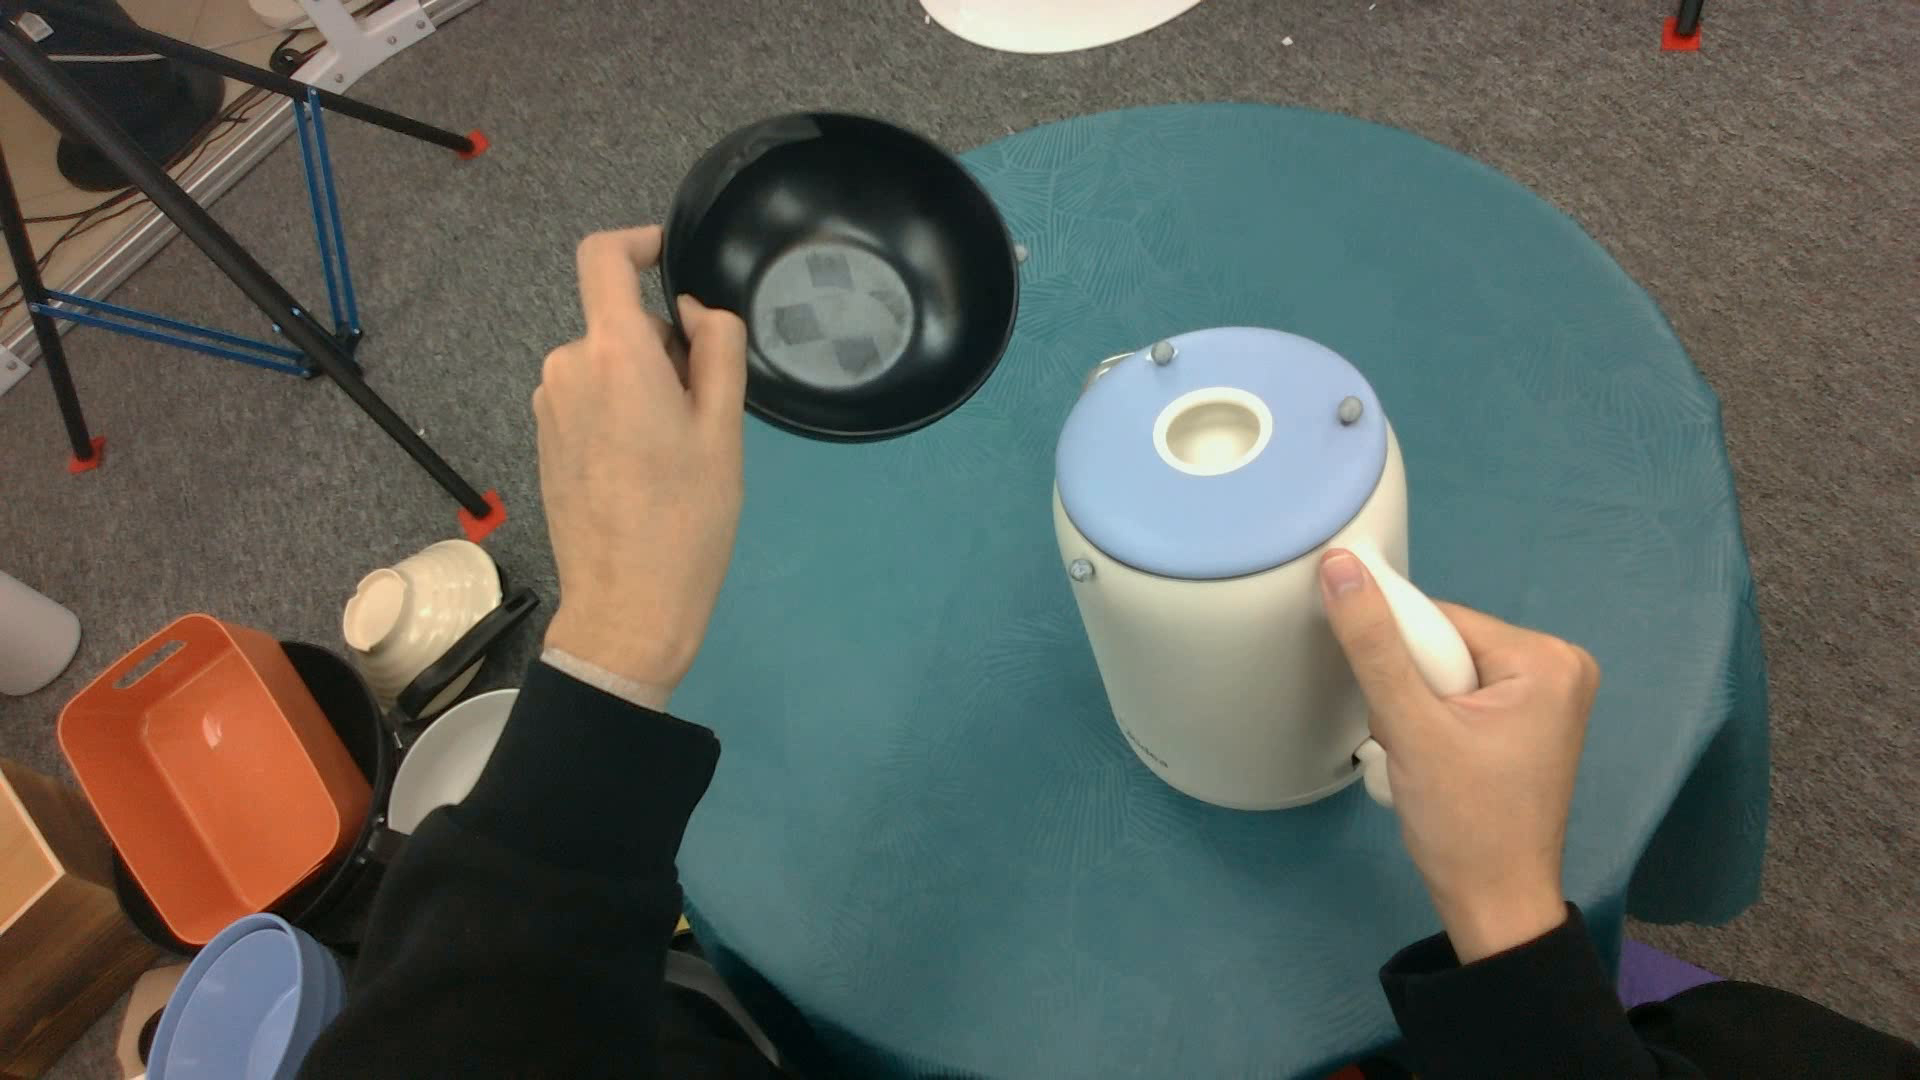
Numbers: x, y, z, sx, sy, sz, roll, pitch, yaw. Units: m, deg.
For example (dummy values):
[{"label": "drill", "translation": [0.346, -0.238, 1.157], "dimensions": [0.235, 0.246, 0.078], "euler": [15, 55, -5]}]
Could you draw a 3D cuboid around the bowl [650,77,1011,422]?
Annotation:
[{"label": "bowl", "translation": [-0.053, -0.108, 0.545], "dimensions": [0.140, 0.049, 0.140], "euler": [3, 78, -14]}]

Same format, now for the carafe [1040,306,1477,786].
[{"label": "carafe", "translation": [0.123, 0.020, 0.548], "dimensions": [0.132, 0.182, 0.191], "euler": [-40, 54, -13]}]
